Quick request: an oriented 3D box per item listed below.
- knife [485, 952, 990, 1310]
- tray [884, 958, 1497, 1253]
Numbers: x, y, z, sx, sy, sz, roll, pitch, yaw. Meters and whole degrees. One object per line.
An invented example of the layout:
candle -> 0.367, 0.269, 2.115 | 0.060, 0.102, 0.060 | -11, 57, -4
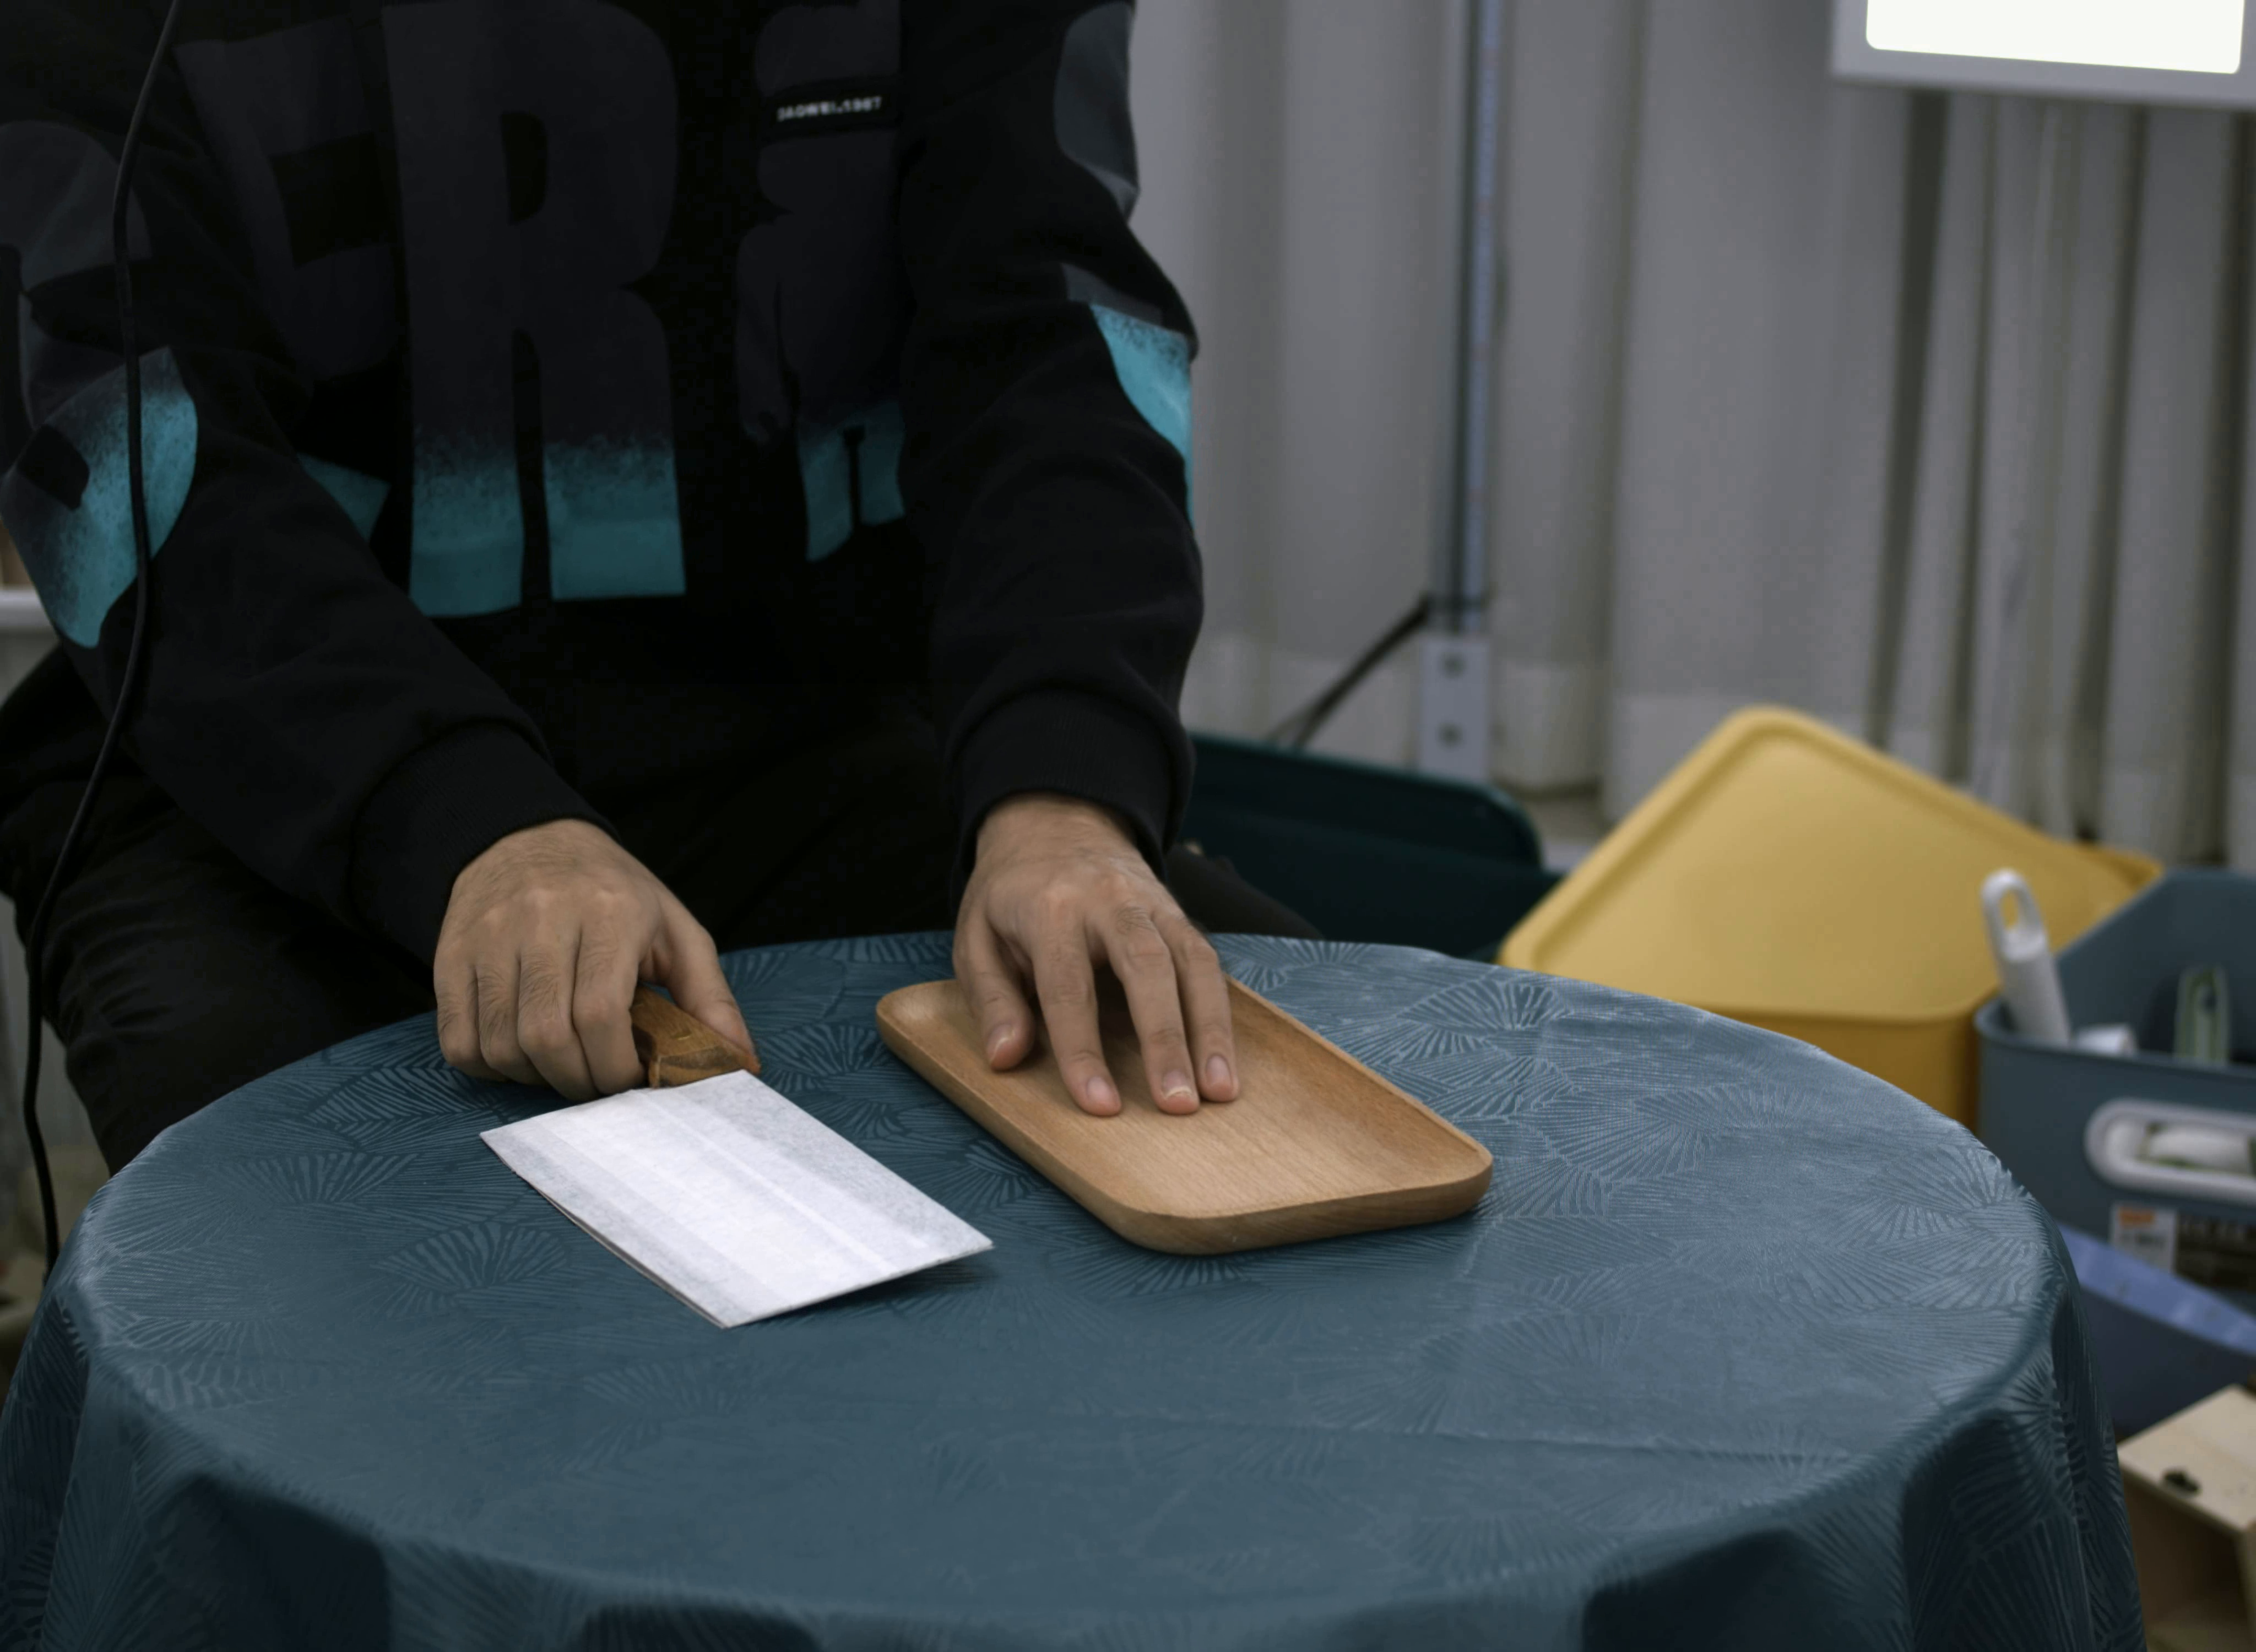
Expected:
knife -> -0.147, 0.096, 1.652 | 0.093, 0.021, 0.302 | -15, 21, -25
tray -> 0.016, 0.087, 1.685 | 0.131, 0.023, 0.248 | -4, 15, -22
